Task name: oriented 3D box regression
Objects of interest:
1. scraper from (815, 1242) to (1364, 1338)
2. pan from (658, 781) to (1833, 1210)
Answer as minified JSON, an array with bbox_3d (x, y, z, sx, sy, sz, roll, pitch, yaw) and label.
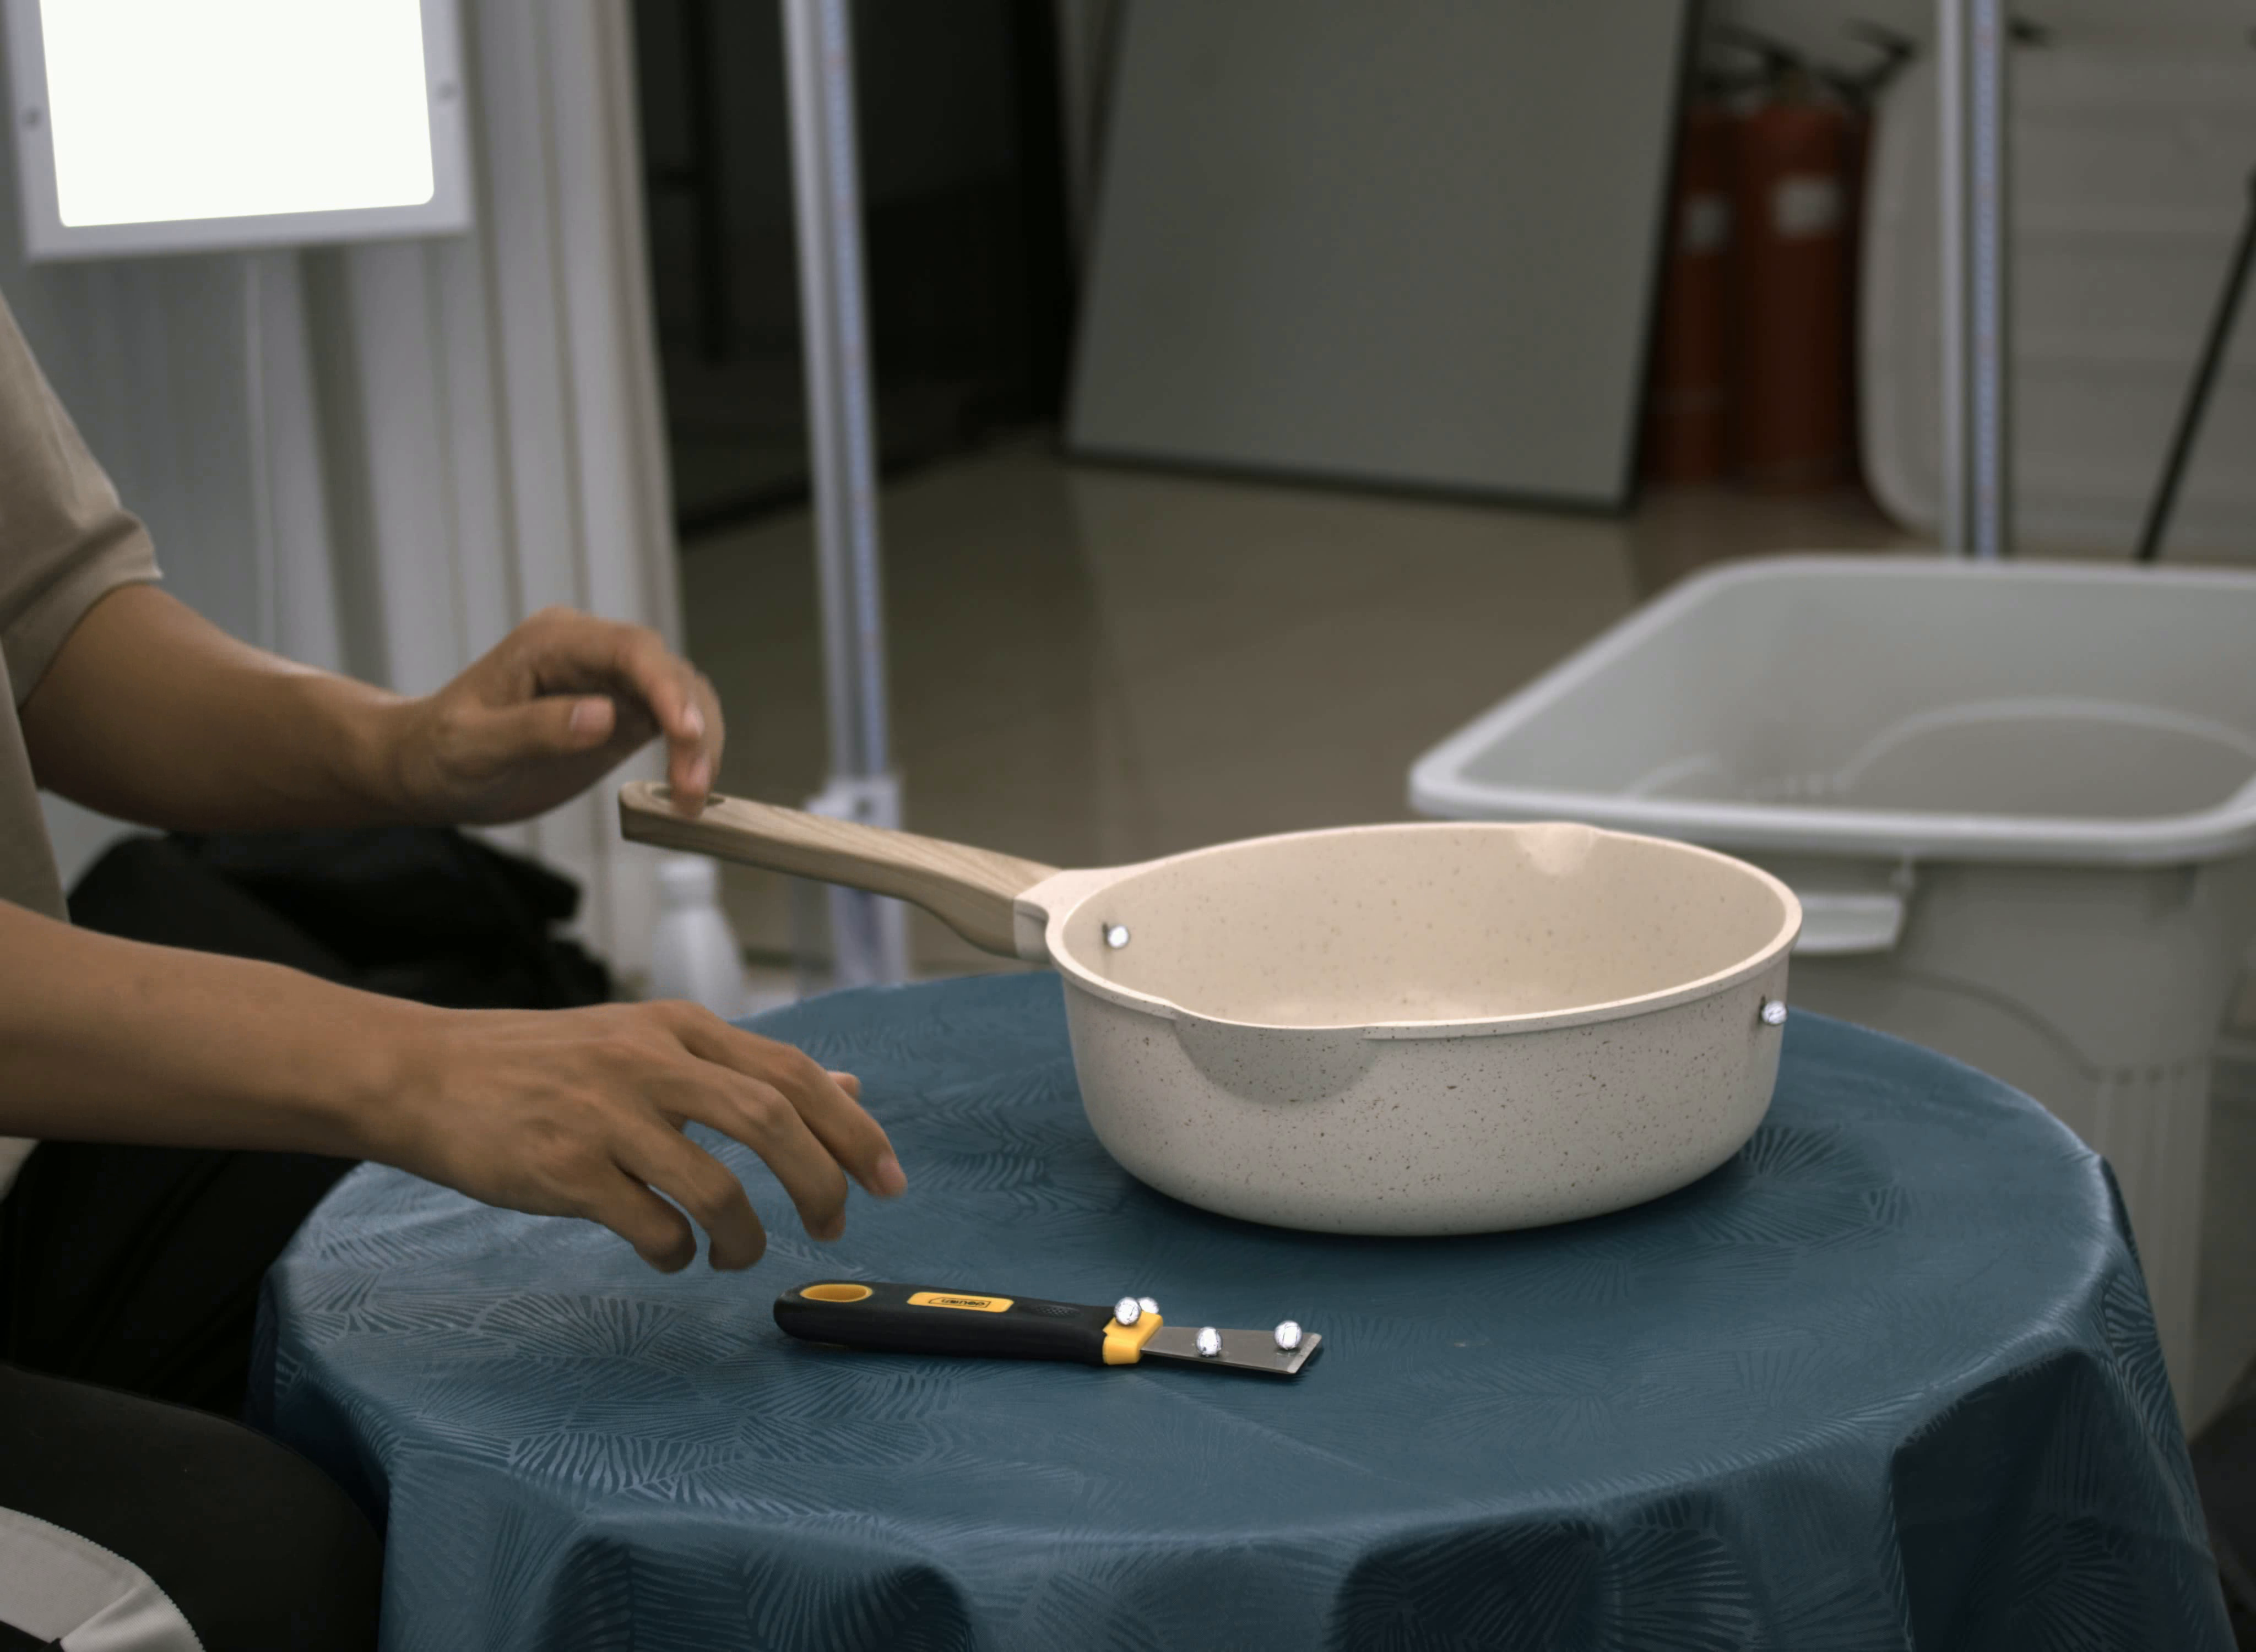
[{"bbox_3d":[-0.014,0.141,1.634,0.170,0.015,0.038,3,22,16],"label":"scraper"},{"bbox_3d":[0.032,0.047,1.848,0.436,0.103,0.260,3,17,28],"label":"pan"}]
